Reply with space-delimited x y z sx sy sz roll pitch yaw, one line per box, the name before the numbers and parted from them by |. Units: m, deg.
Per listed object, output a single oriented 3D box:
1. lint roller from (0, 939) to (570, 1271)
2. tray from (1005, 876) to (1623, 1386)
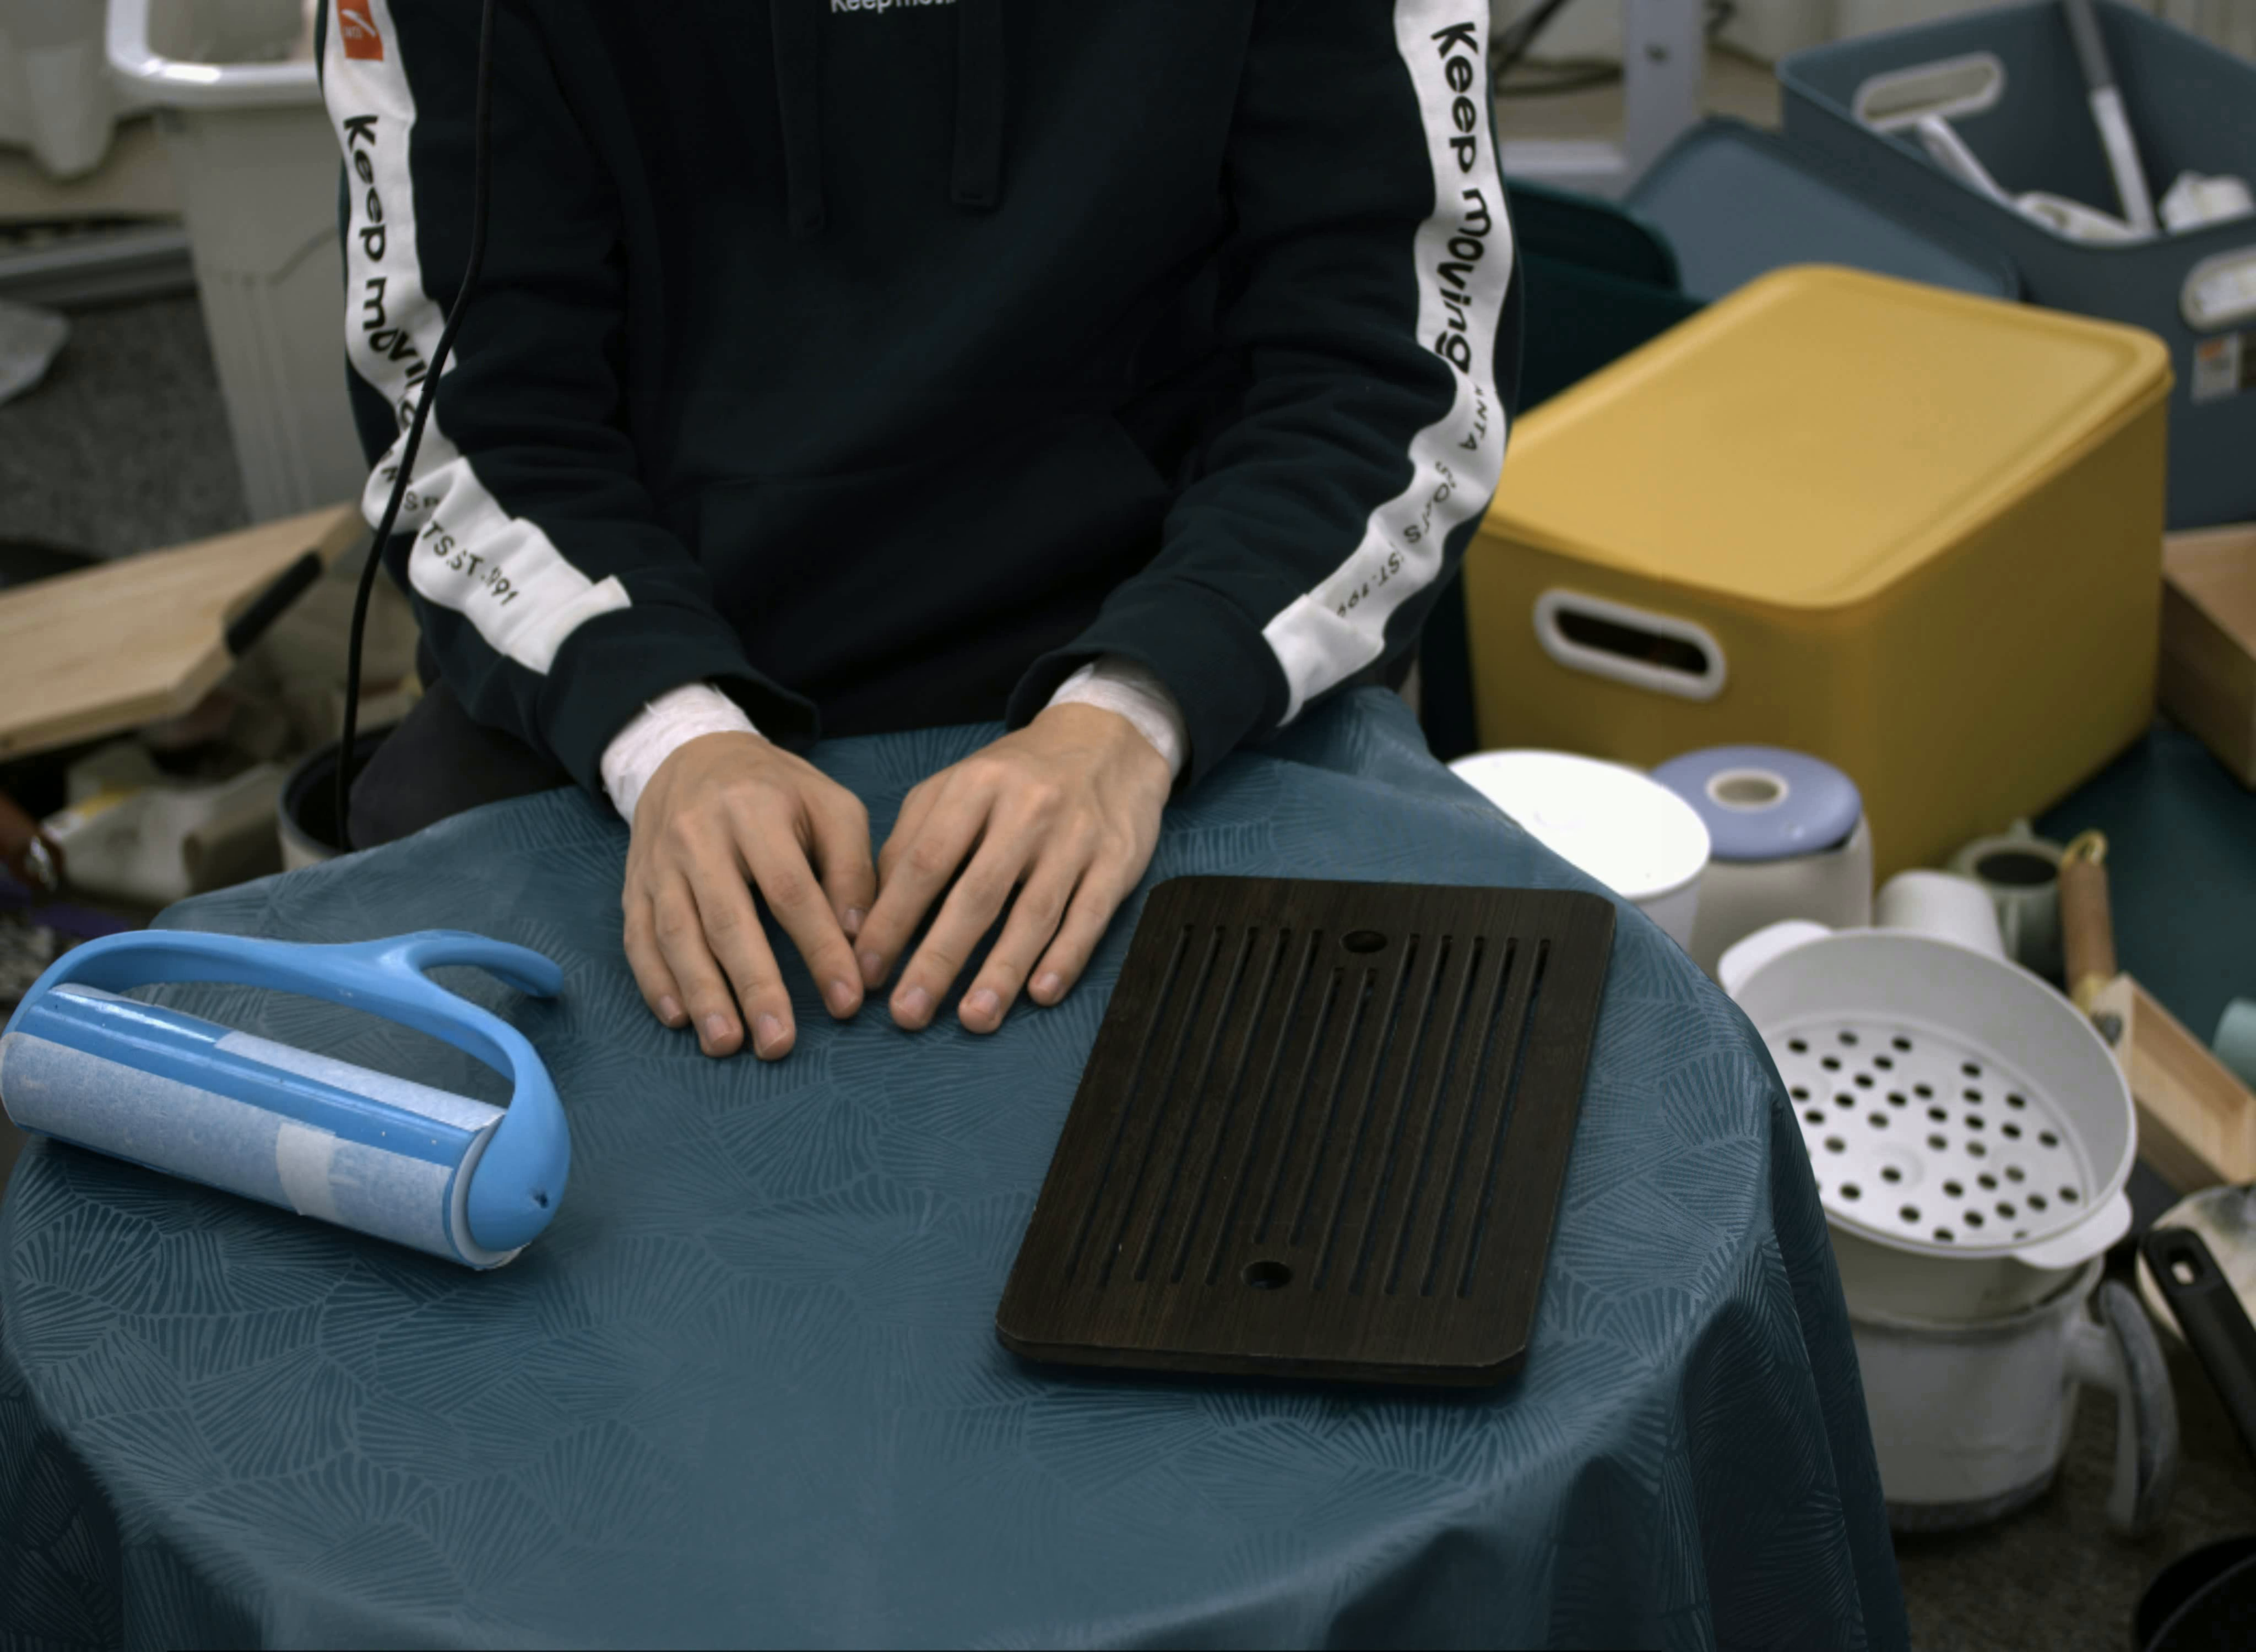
lint roller | -0.257 0.073 1.917 0.227 0.067 0.183 10 31 27
tray | 0.068 0.099 1.877 0.169 0.018 0.311 2 28 10
